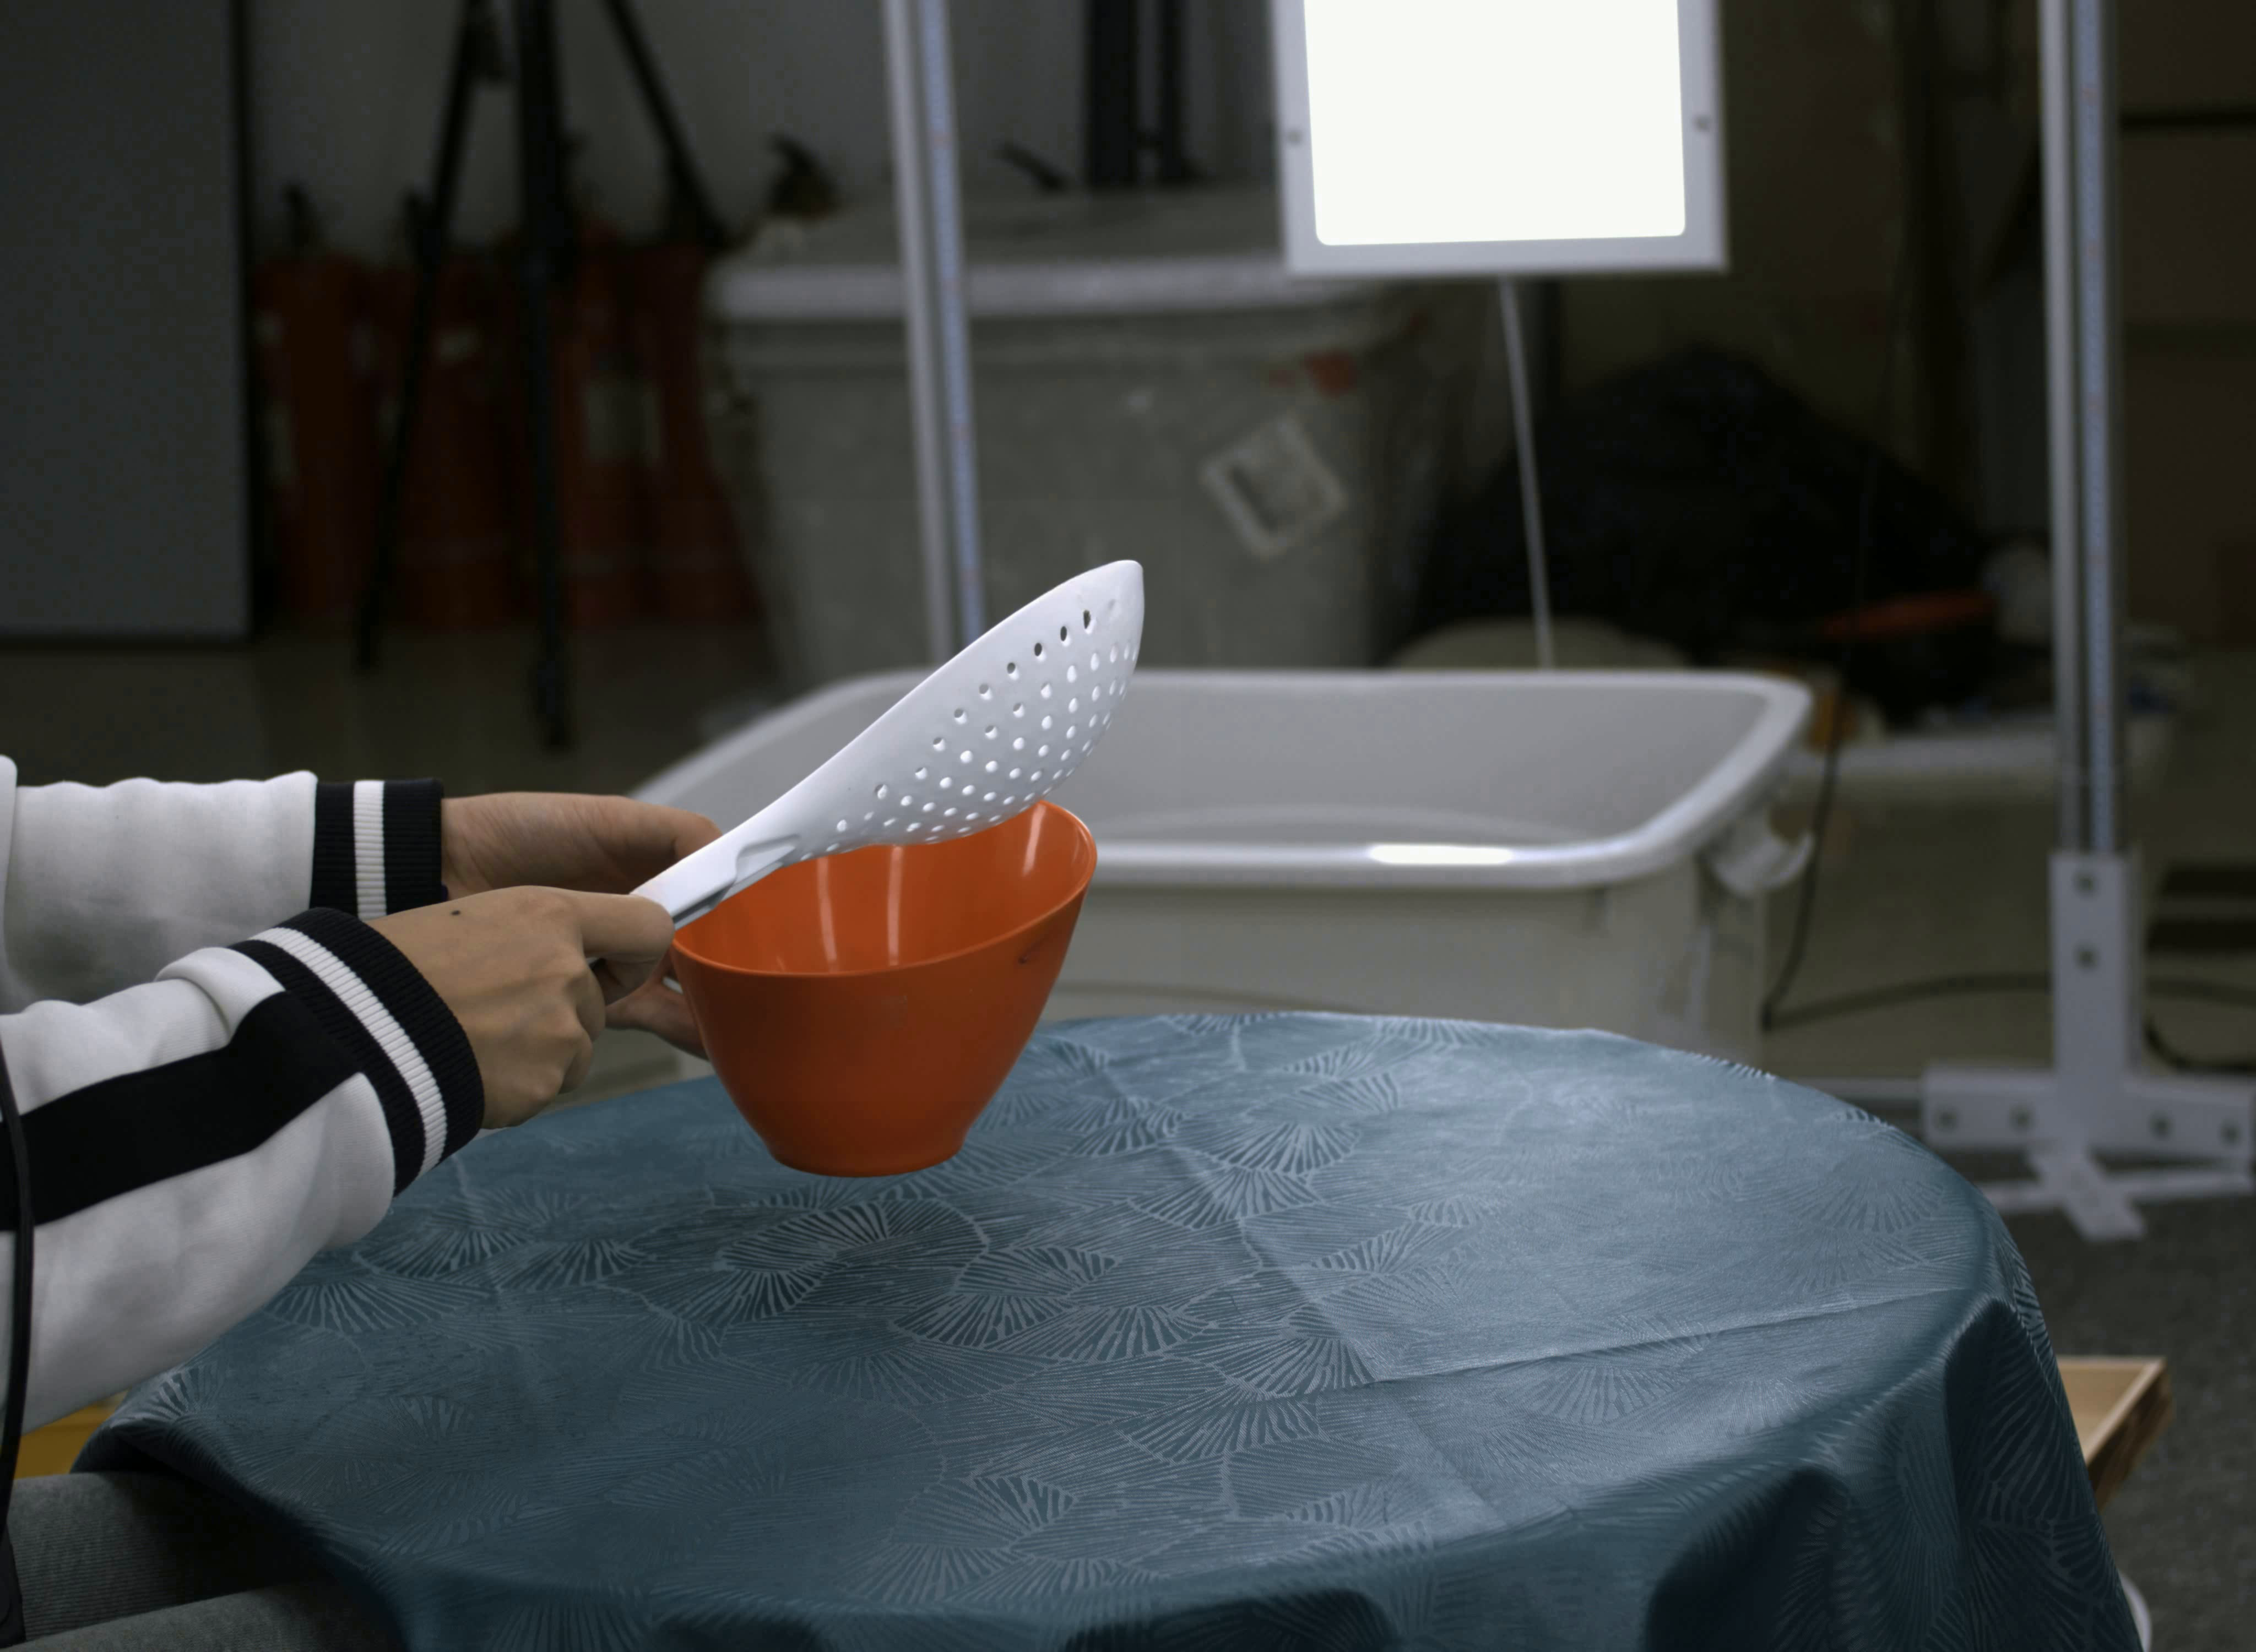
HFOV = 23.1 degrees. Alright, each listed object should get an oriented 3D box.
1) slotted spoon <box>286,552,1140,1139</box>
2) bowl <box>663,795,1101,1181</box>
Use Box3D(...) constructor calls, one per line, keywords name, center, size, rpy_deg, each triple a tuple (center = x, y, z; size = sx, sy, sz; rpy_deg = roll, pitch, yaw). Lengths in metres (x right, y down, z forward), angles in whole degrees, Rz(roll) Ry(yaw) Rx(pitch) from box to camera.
Box3D(name="slotted spoon", center=(-0.121, 0.009, 1.720), size=(0.342, 0.046, 0.138), rpy_deg=(-26, -16, -32))
Box3D(name="bowl", center=(-0.082, 0.057, 1.859), size=(0.147, 0.105, 0.148), rpy_deg=(-1, 18, -1))
